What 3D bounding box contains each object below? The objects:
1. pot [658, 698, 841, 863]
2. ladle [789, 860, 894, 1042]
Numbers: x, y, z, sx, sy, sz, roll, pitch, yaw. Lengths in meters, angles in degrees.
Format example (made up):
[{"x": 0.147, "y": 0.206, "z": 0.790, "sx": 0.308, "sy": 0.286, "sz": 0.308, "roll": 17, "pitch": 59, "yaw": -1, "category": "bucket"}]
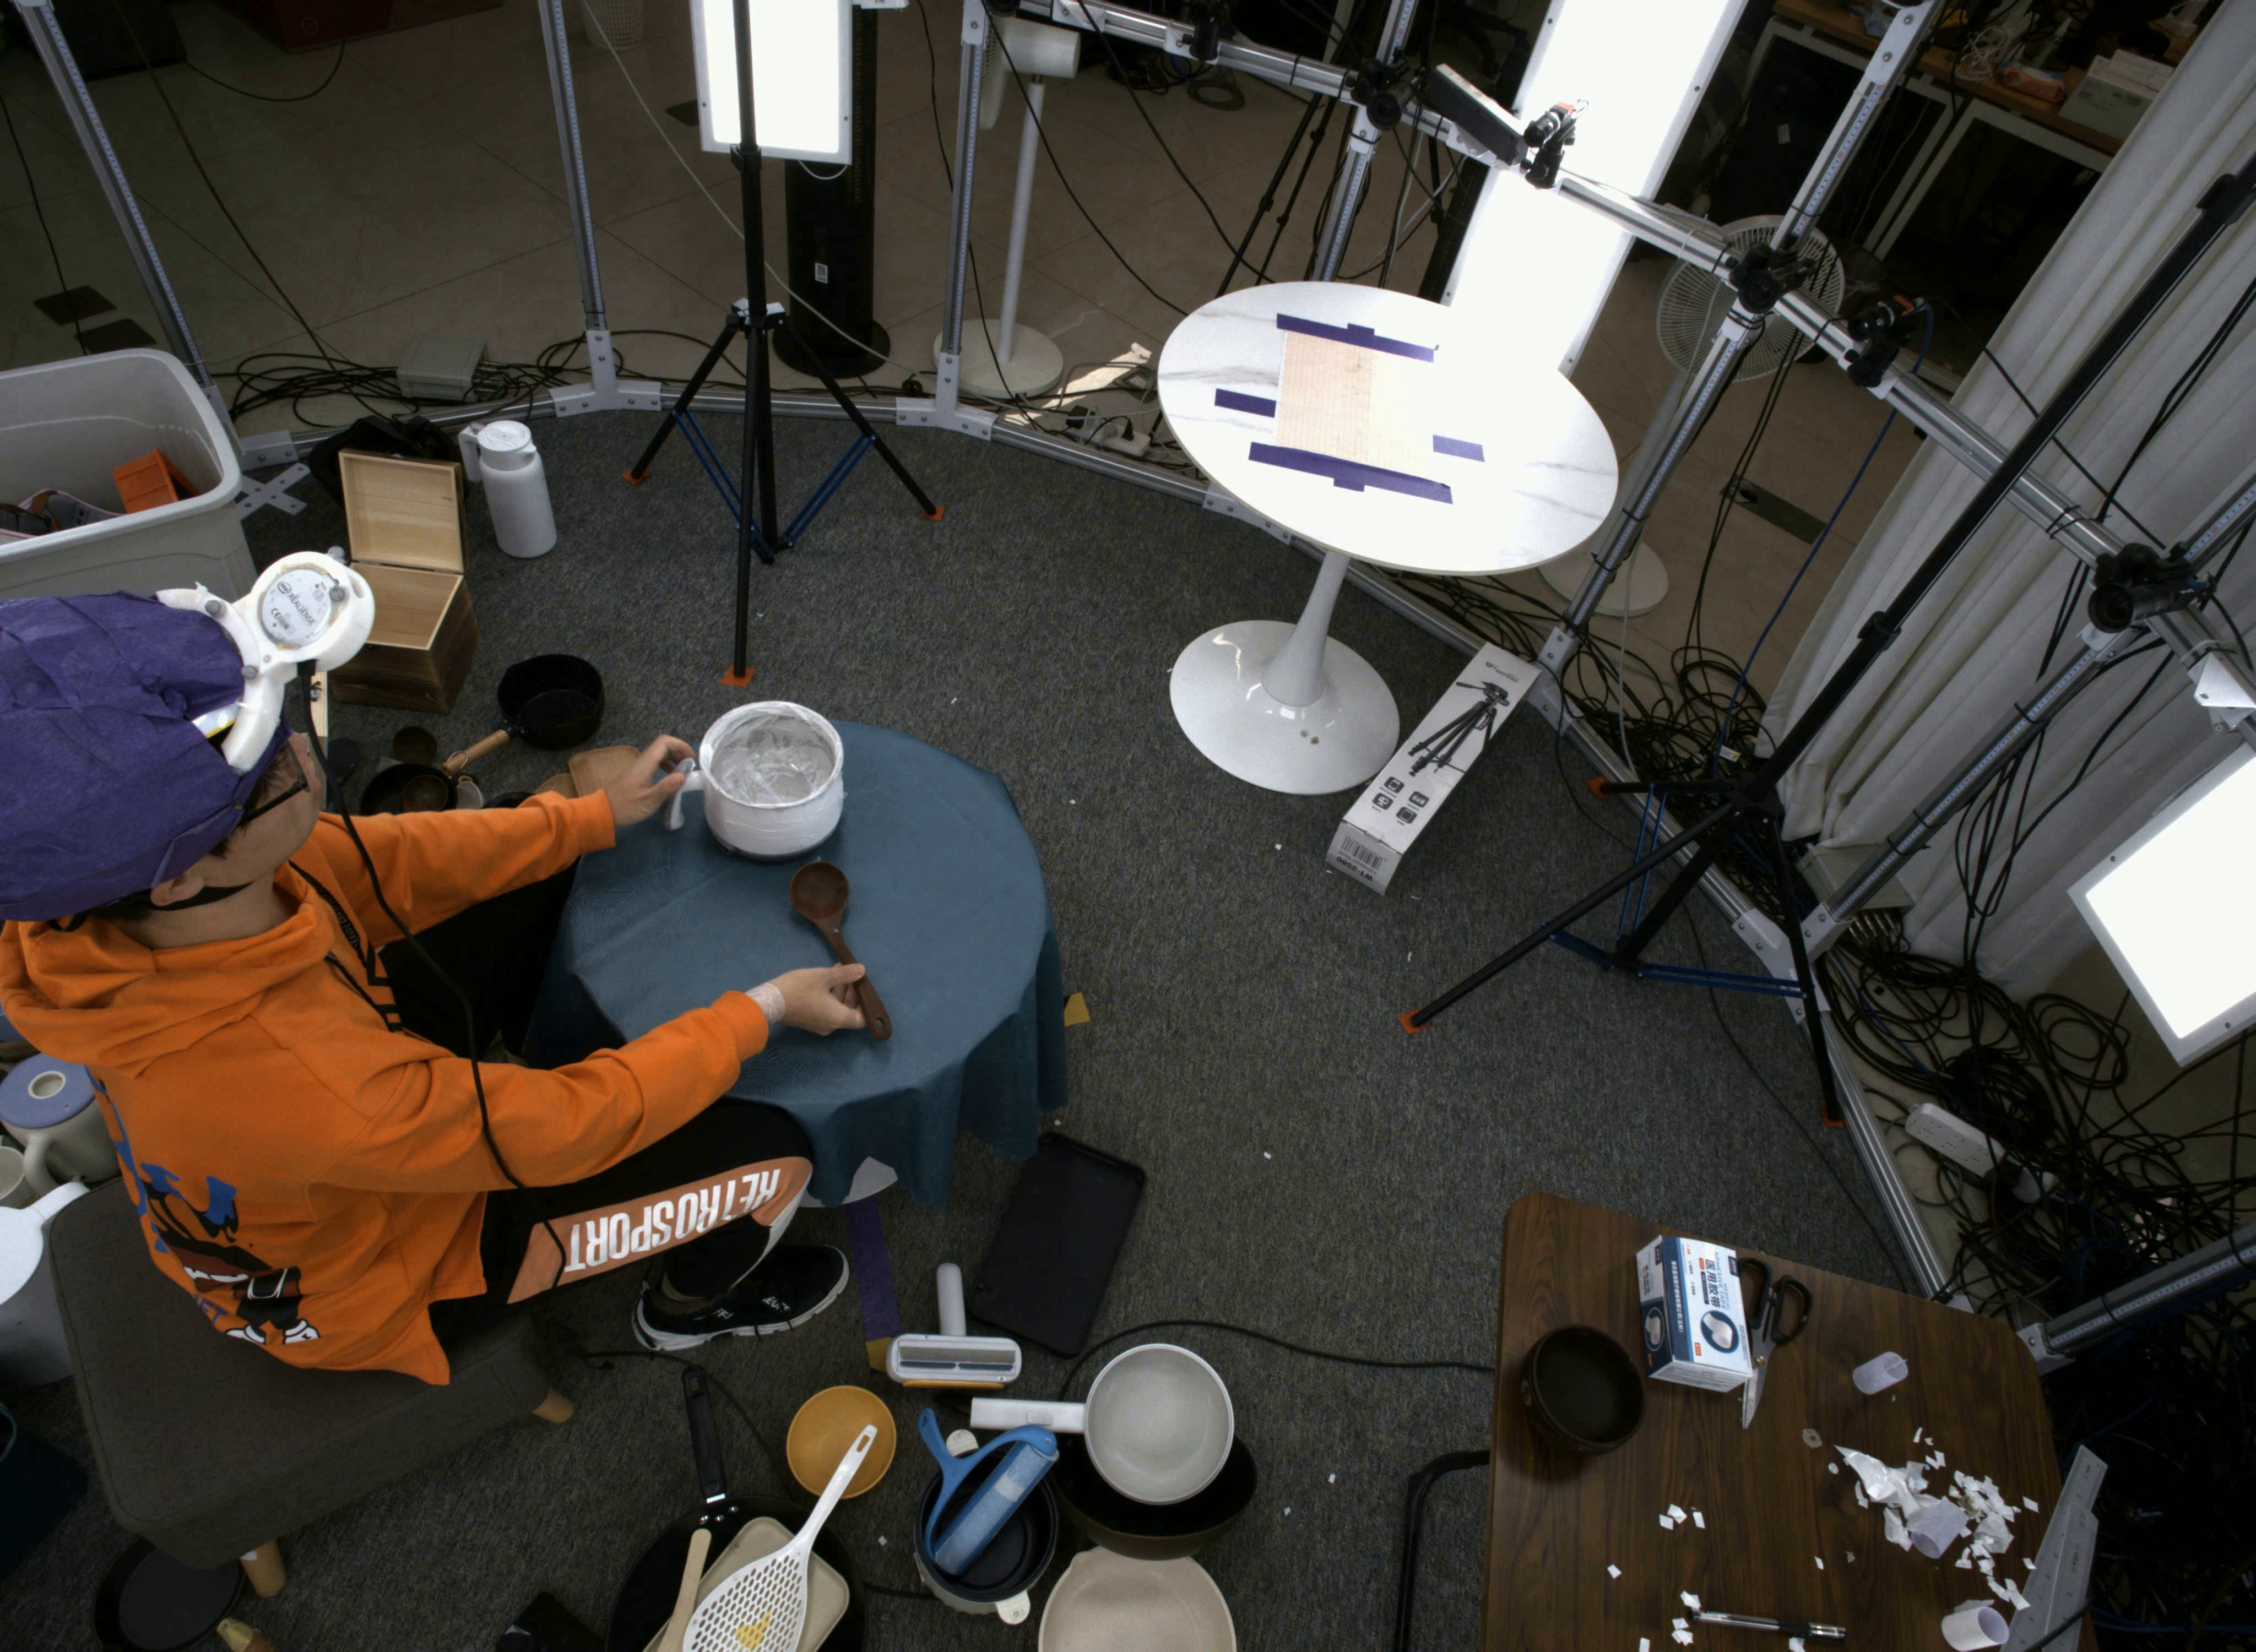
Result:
[{"x": -0.483, "y": -0.050, "z": 1.647, "sx": 0.235, "sy": 0.139, "sz": 0.174, "roll": -10, "pitch": 56, "yaw": -21, "category": "pot"}, {"x": -0.342, "y": 0.145, "z": 1.575, "sx": 0.077, "sy": 0.067, "sz": 0.252, "roll": -20, "pitch": 53, "yaw": -22, "category": "ladle"}]
